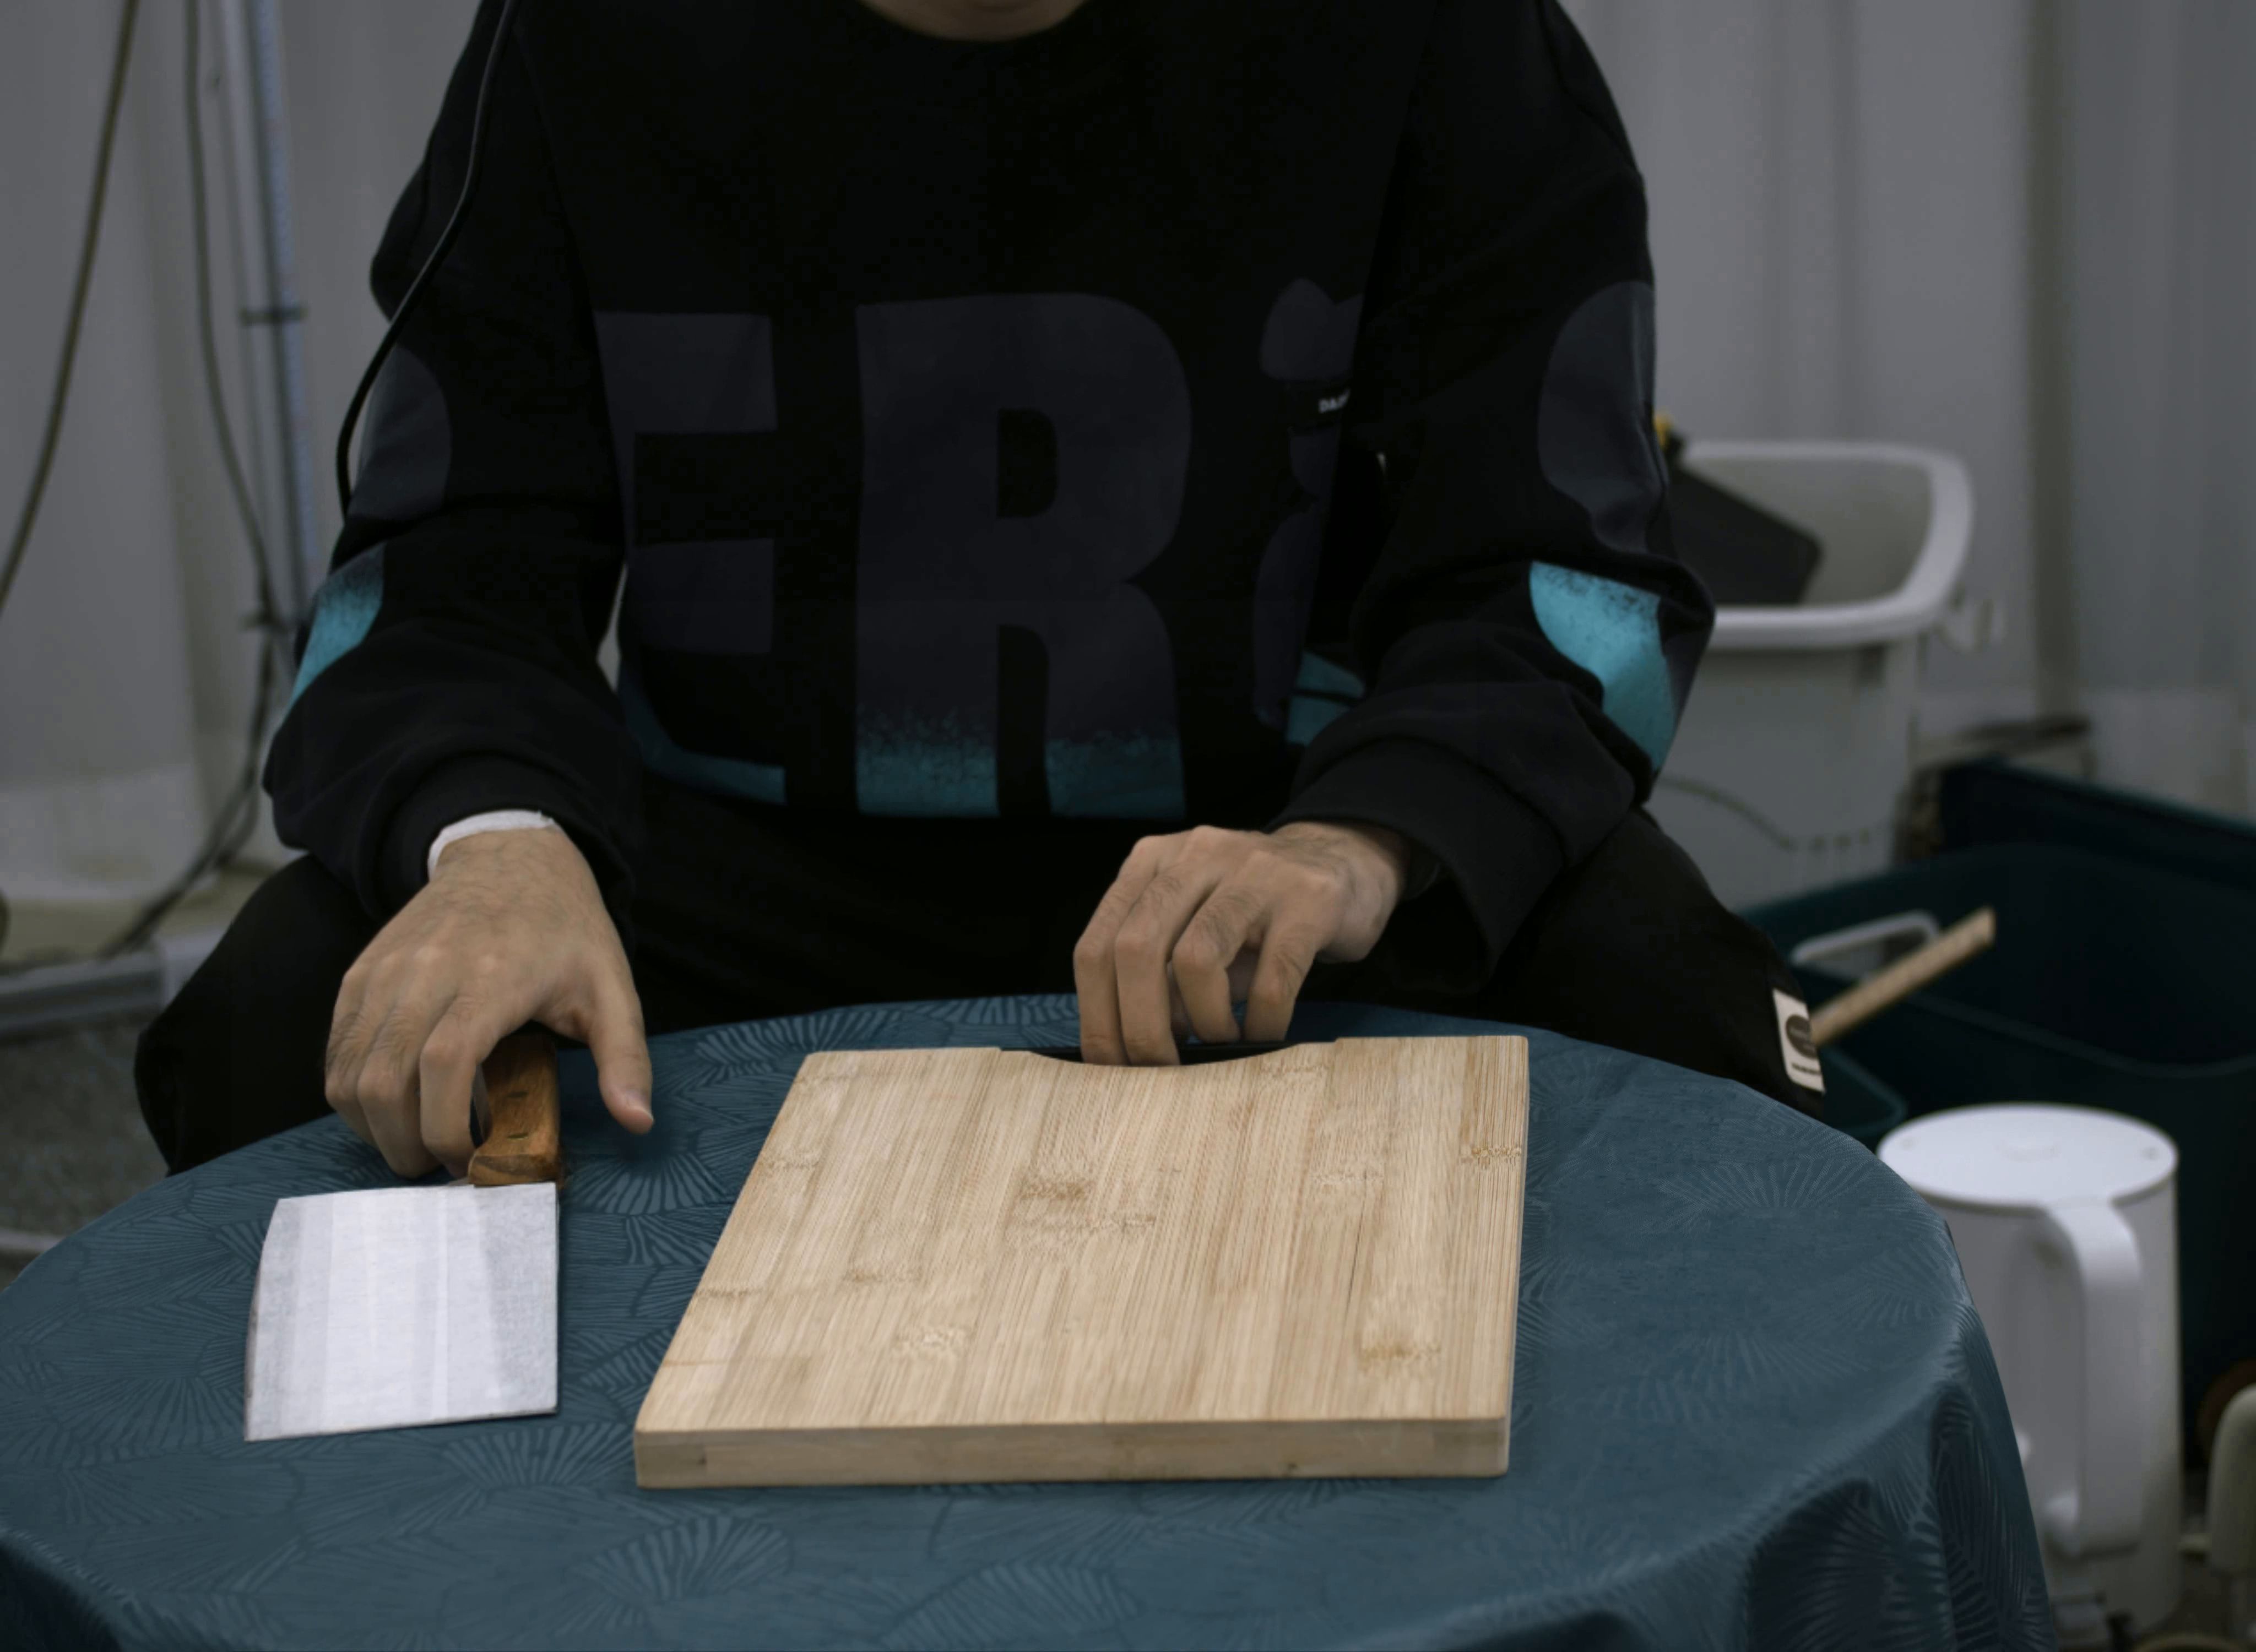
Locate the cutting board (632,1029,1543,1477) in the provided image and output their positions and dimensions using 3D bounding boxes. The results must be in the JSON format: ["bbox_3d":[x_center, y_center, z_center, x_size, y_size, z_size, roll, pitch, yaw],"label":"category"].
[{"bbox_3d":[0.000,0.124,1.647,0.250,0.023,0.351,-2,15,5],"label":"cutting board"}]

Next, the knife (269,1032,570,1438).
[{"bbox_3d":[-0.219,0.125,1.691,0.092,0.021,0.308,-6,18,-4],"label":"knife"}]
